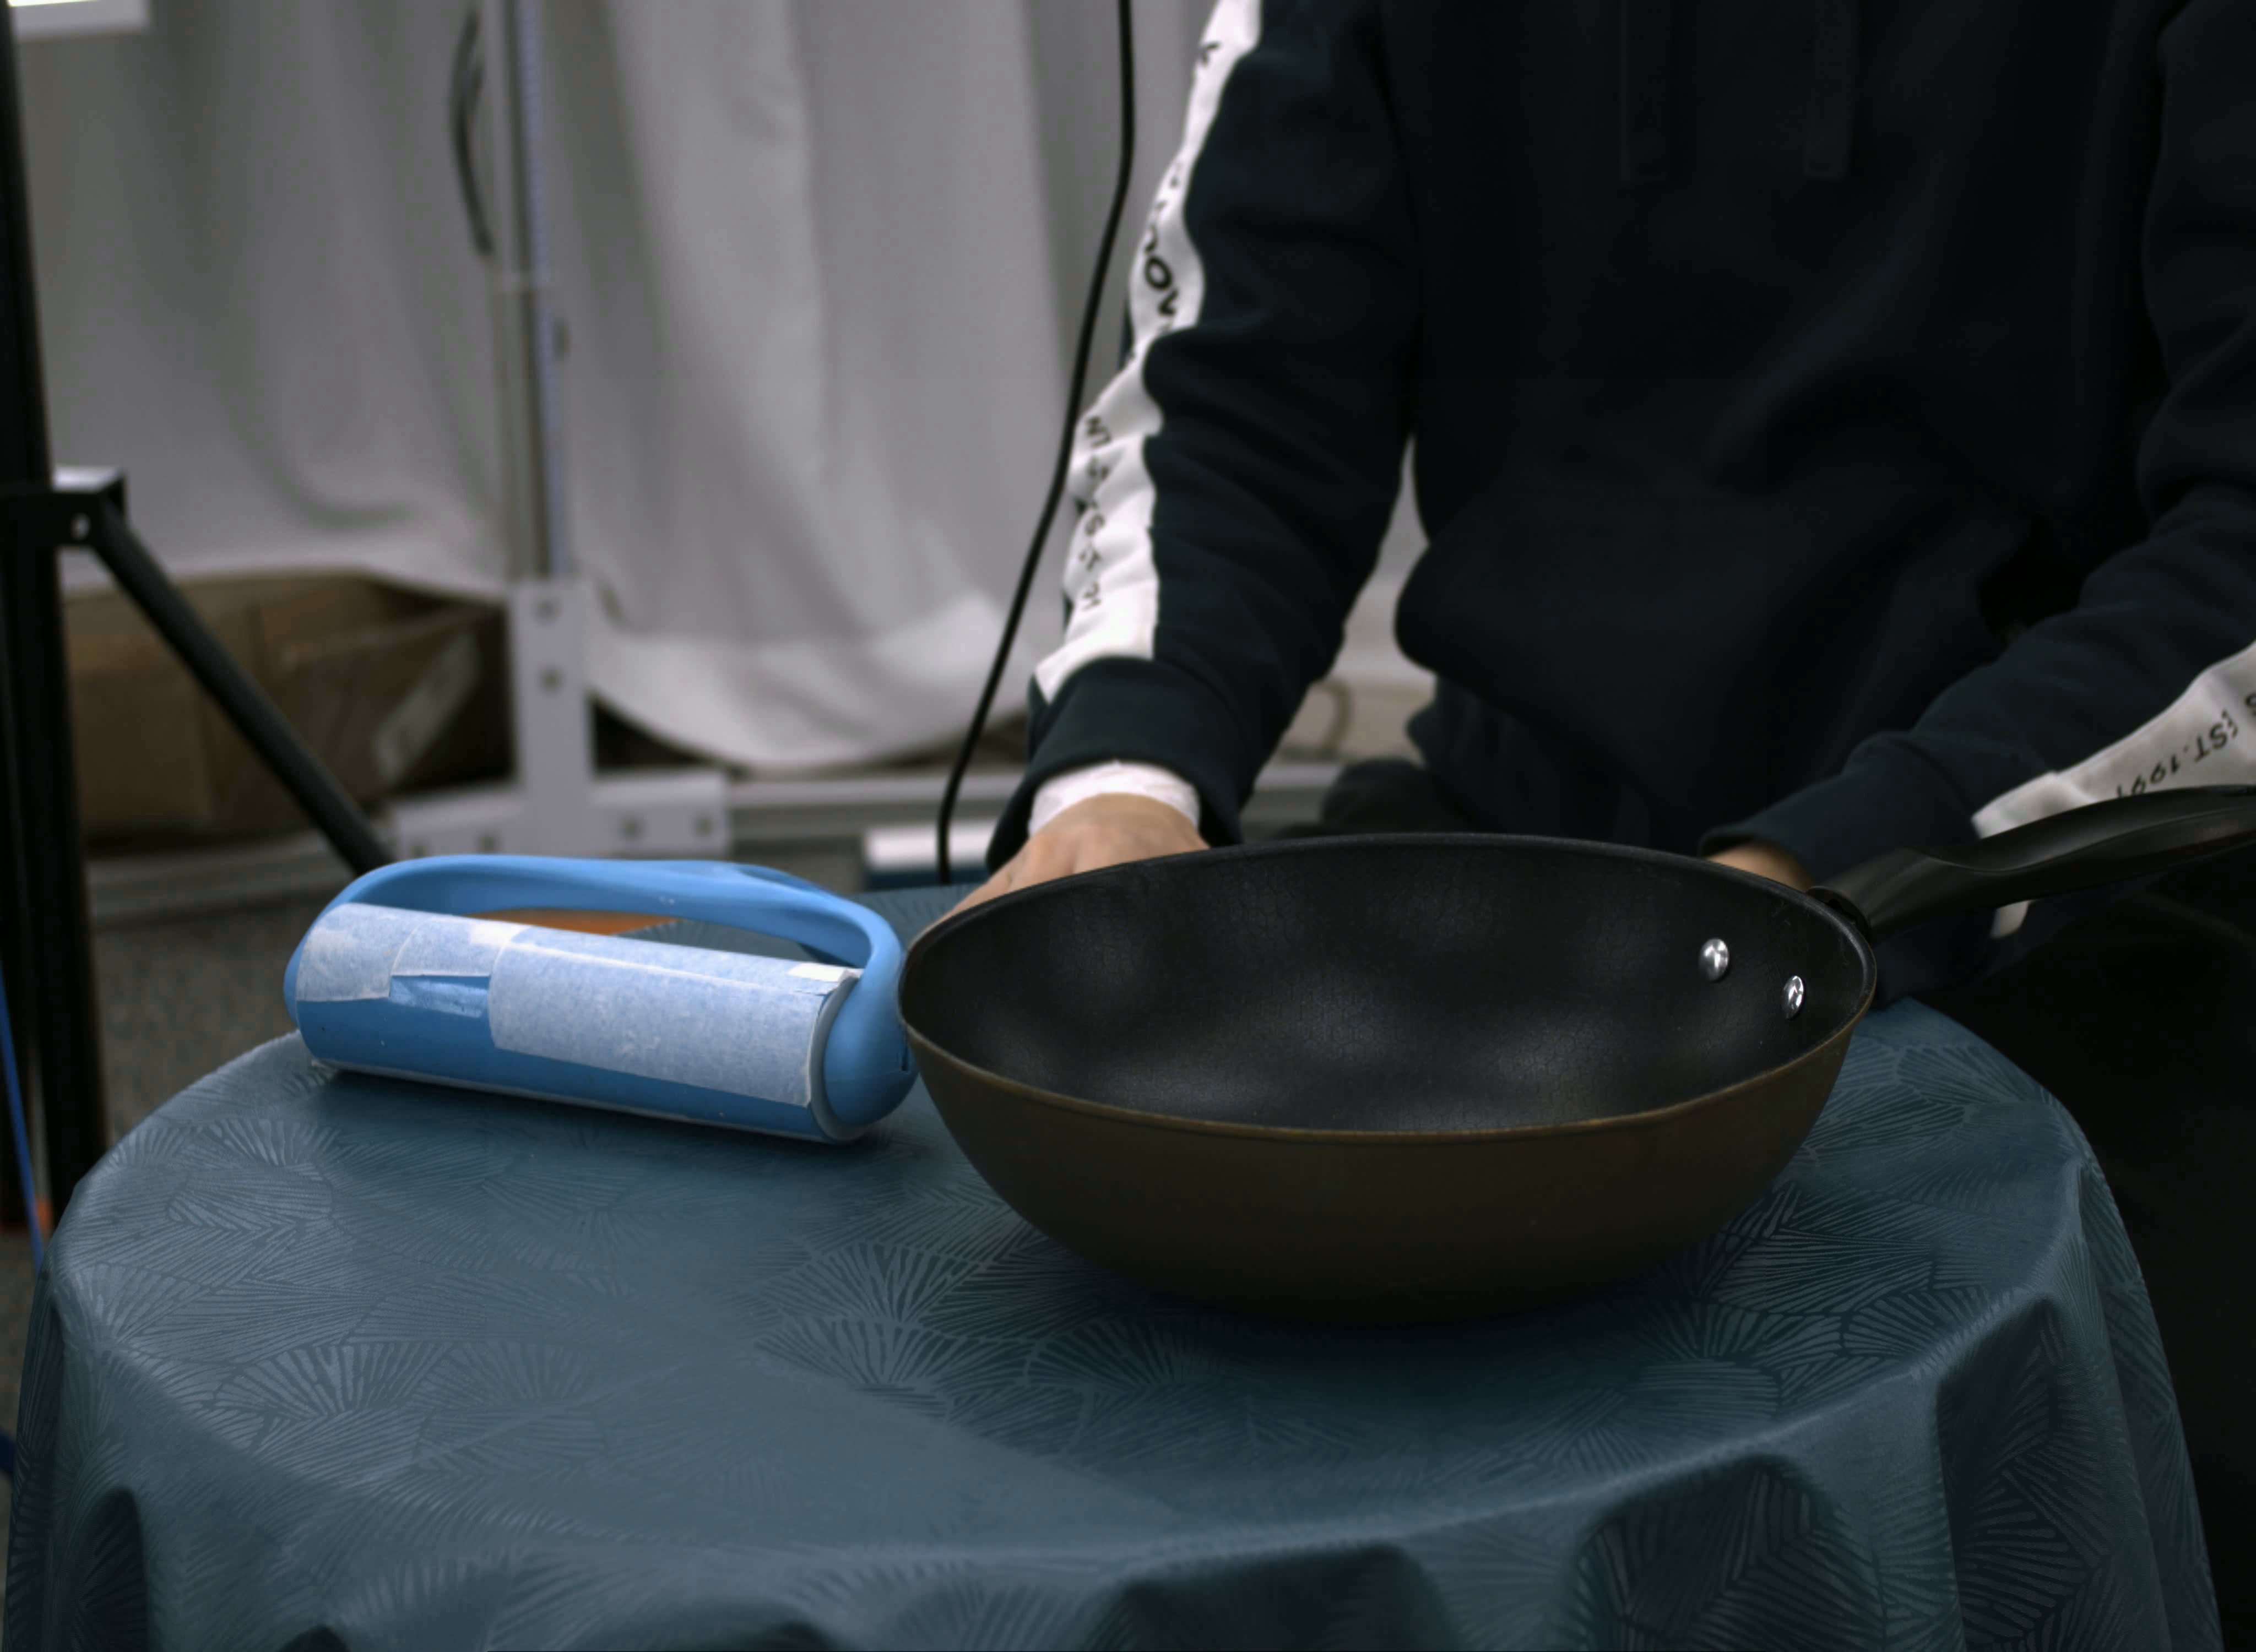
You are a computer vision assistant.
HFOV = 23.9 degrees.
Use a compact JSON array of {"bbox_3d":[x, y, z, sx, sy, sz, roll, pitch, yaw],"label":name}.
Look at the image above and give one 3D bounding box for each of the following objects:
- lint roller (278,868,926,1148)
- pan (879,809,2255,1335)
[{"bbox_3d":[-0.141,0.045,1.702,0.232,0.068,0.177,3,17,27],"label":"lint roller"},{"bbox_3d":[0.150,0.065,1.536,0.454,0.087,0.294,-9,18,-24],"label":"pan"}]
